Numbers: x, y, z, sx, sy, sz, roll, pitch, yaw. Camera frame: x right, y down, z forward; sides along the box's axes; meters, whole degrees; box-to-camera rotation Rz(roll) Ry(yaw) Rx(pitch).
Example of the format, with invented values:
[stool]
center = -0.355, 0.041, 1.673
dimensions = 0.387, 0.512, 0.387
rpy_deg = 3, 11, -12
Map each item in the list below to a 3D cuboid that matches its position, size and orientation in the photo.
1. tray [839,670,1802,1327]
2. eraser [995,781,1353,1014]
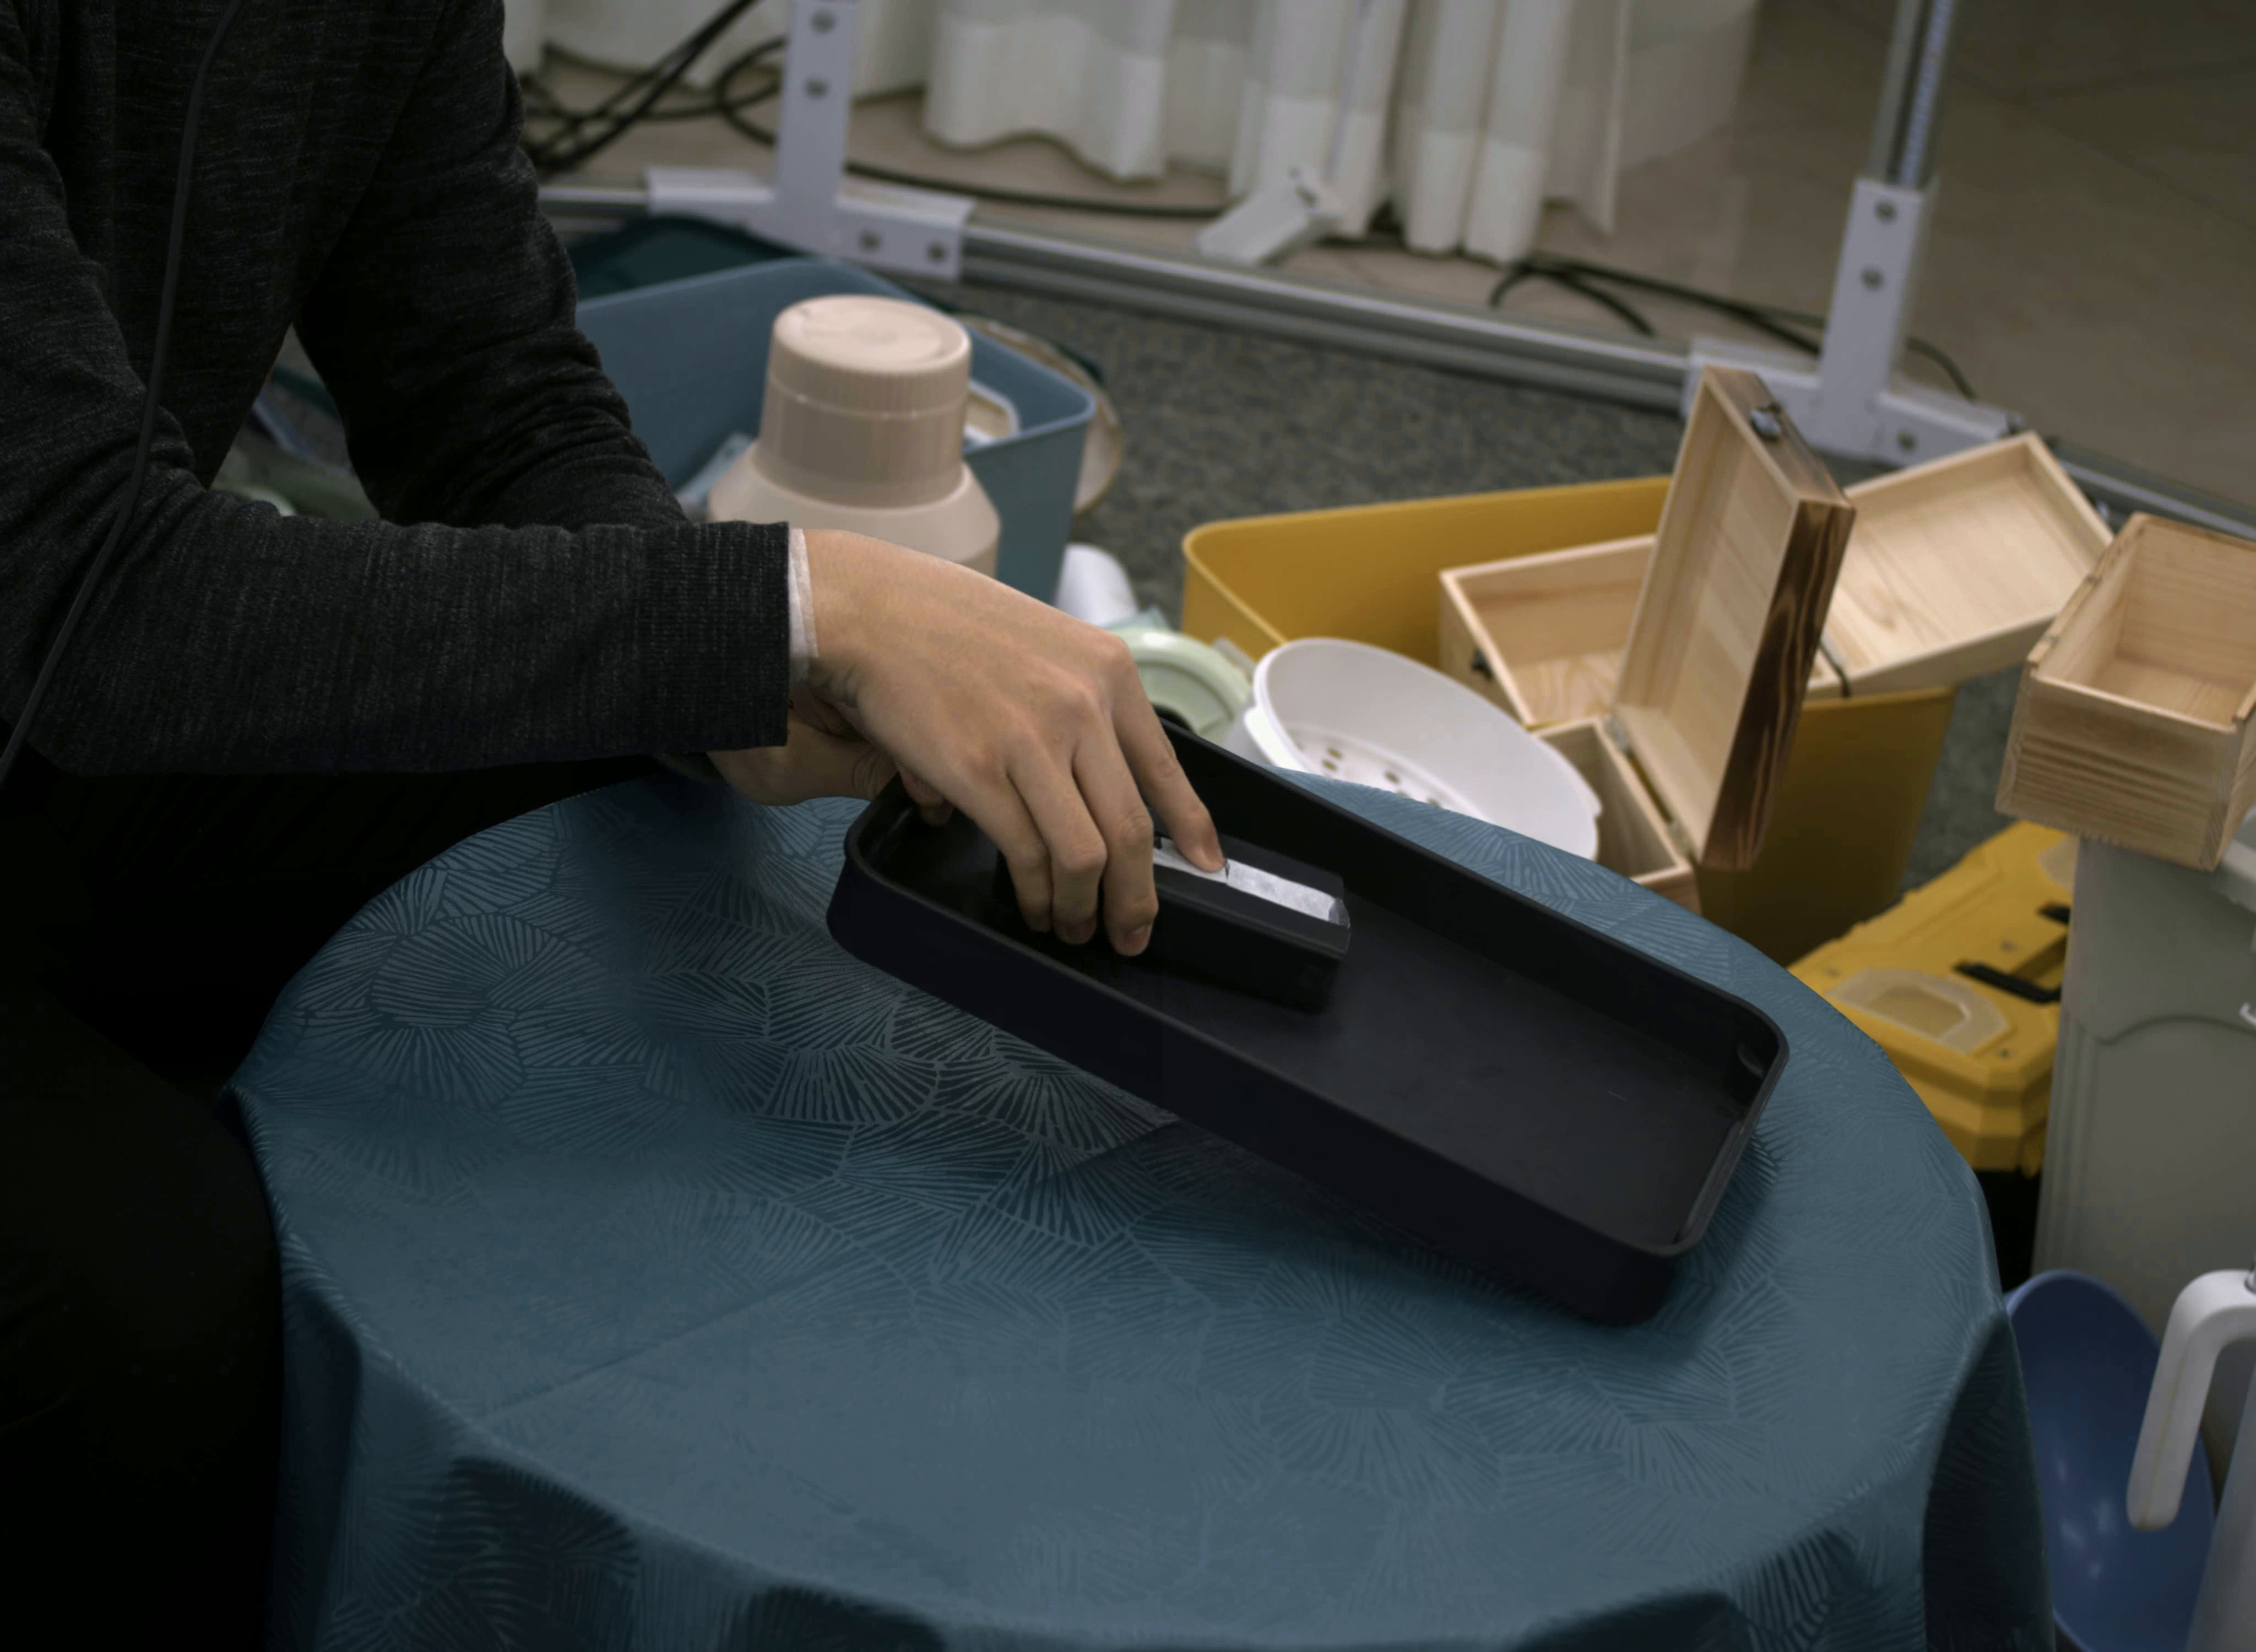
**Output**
[tray]
center = 0.069, 0.056, 1.839
dimensions = 0.318, 0.037, 0.184
rpy_deg = 25, 30, 7
[eraser]
center = 0.015, 0.024, 1.845
dimensions = 0.125, 0.030, 0.054
rpy_deg = 18, 31, -11
